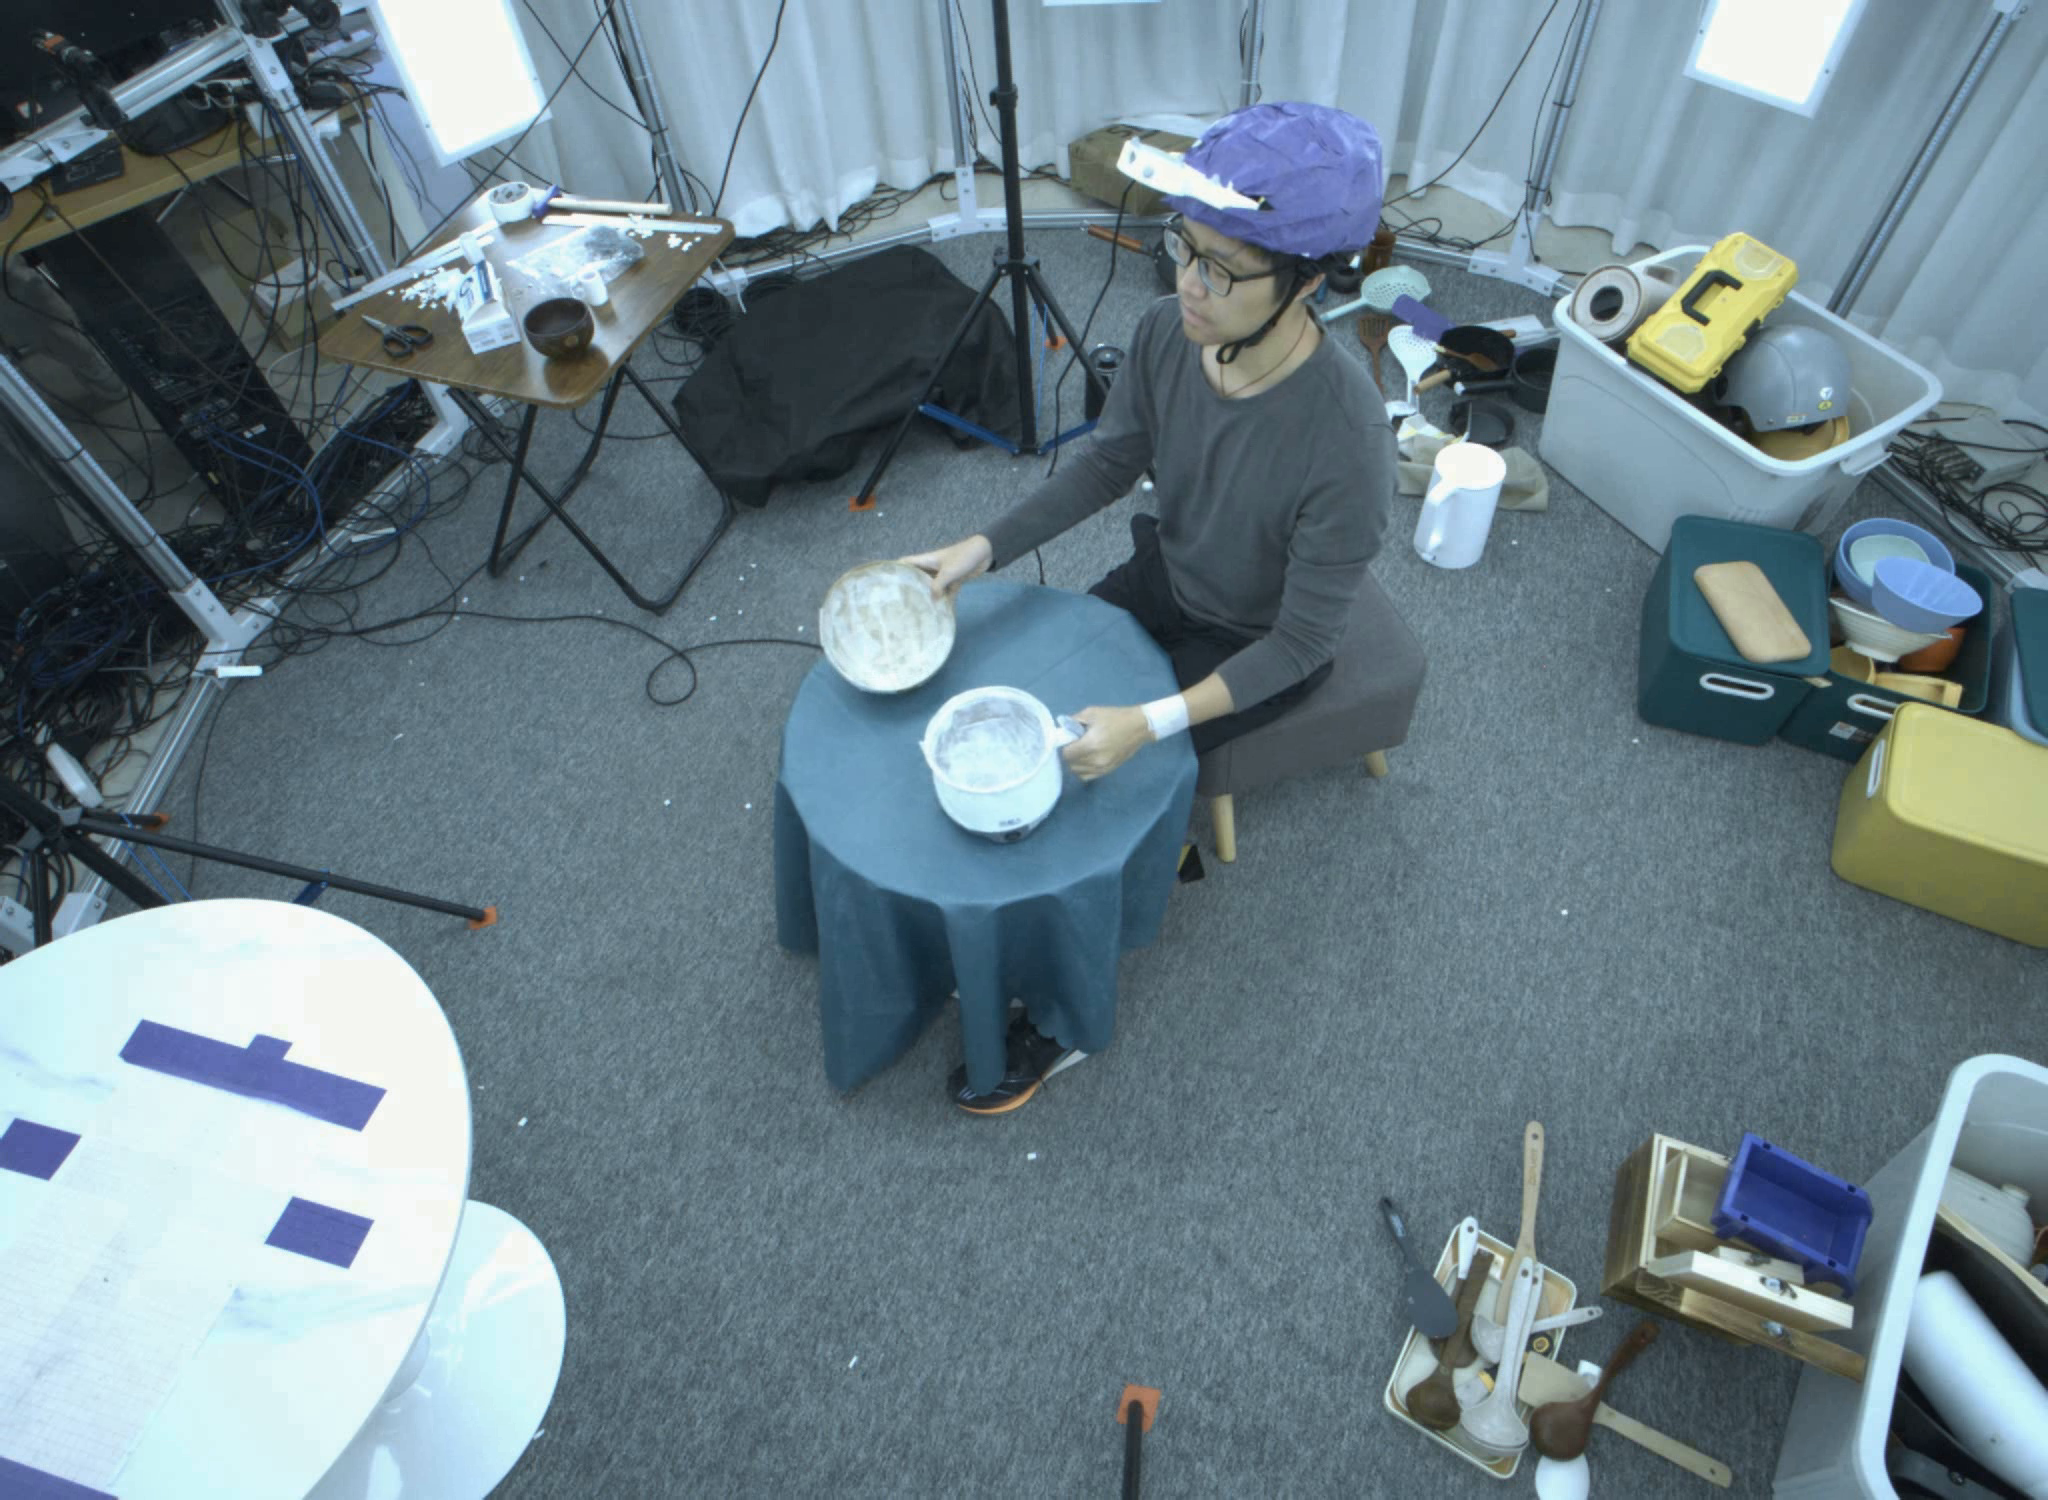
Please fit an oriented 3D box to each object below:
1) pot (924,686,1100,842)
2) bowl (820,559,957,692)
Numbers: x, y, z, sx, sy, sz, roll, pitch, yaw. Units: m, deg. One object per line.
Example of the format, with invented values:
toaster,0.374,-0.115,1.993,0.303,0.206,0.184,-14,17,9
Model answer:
pot,-0.012,0.014,1.697,0.234,0.138,0.176,-14,55,-5
bowl,-0.205,-0.178,1.855,0.216,0.094,0.213,3,78,-11
